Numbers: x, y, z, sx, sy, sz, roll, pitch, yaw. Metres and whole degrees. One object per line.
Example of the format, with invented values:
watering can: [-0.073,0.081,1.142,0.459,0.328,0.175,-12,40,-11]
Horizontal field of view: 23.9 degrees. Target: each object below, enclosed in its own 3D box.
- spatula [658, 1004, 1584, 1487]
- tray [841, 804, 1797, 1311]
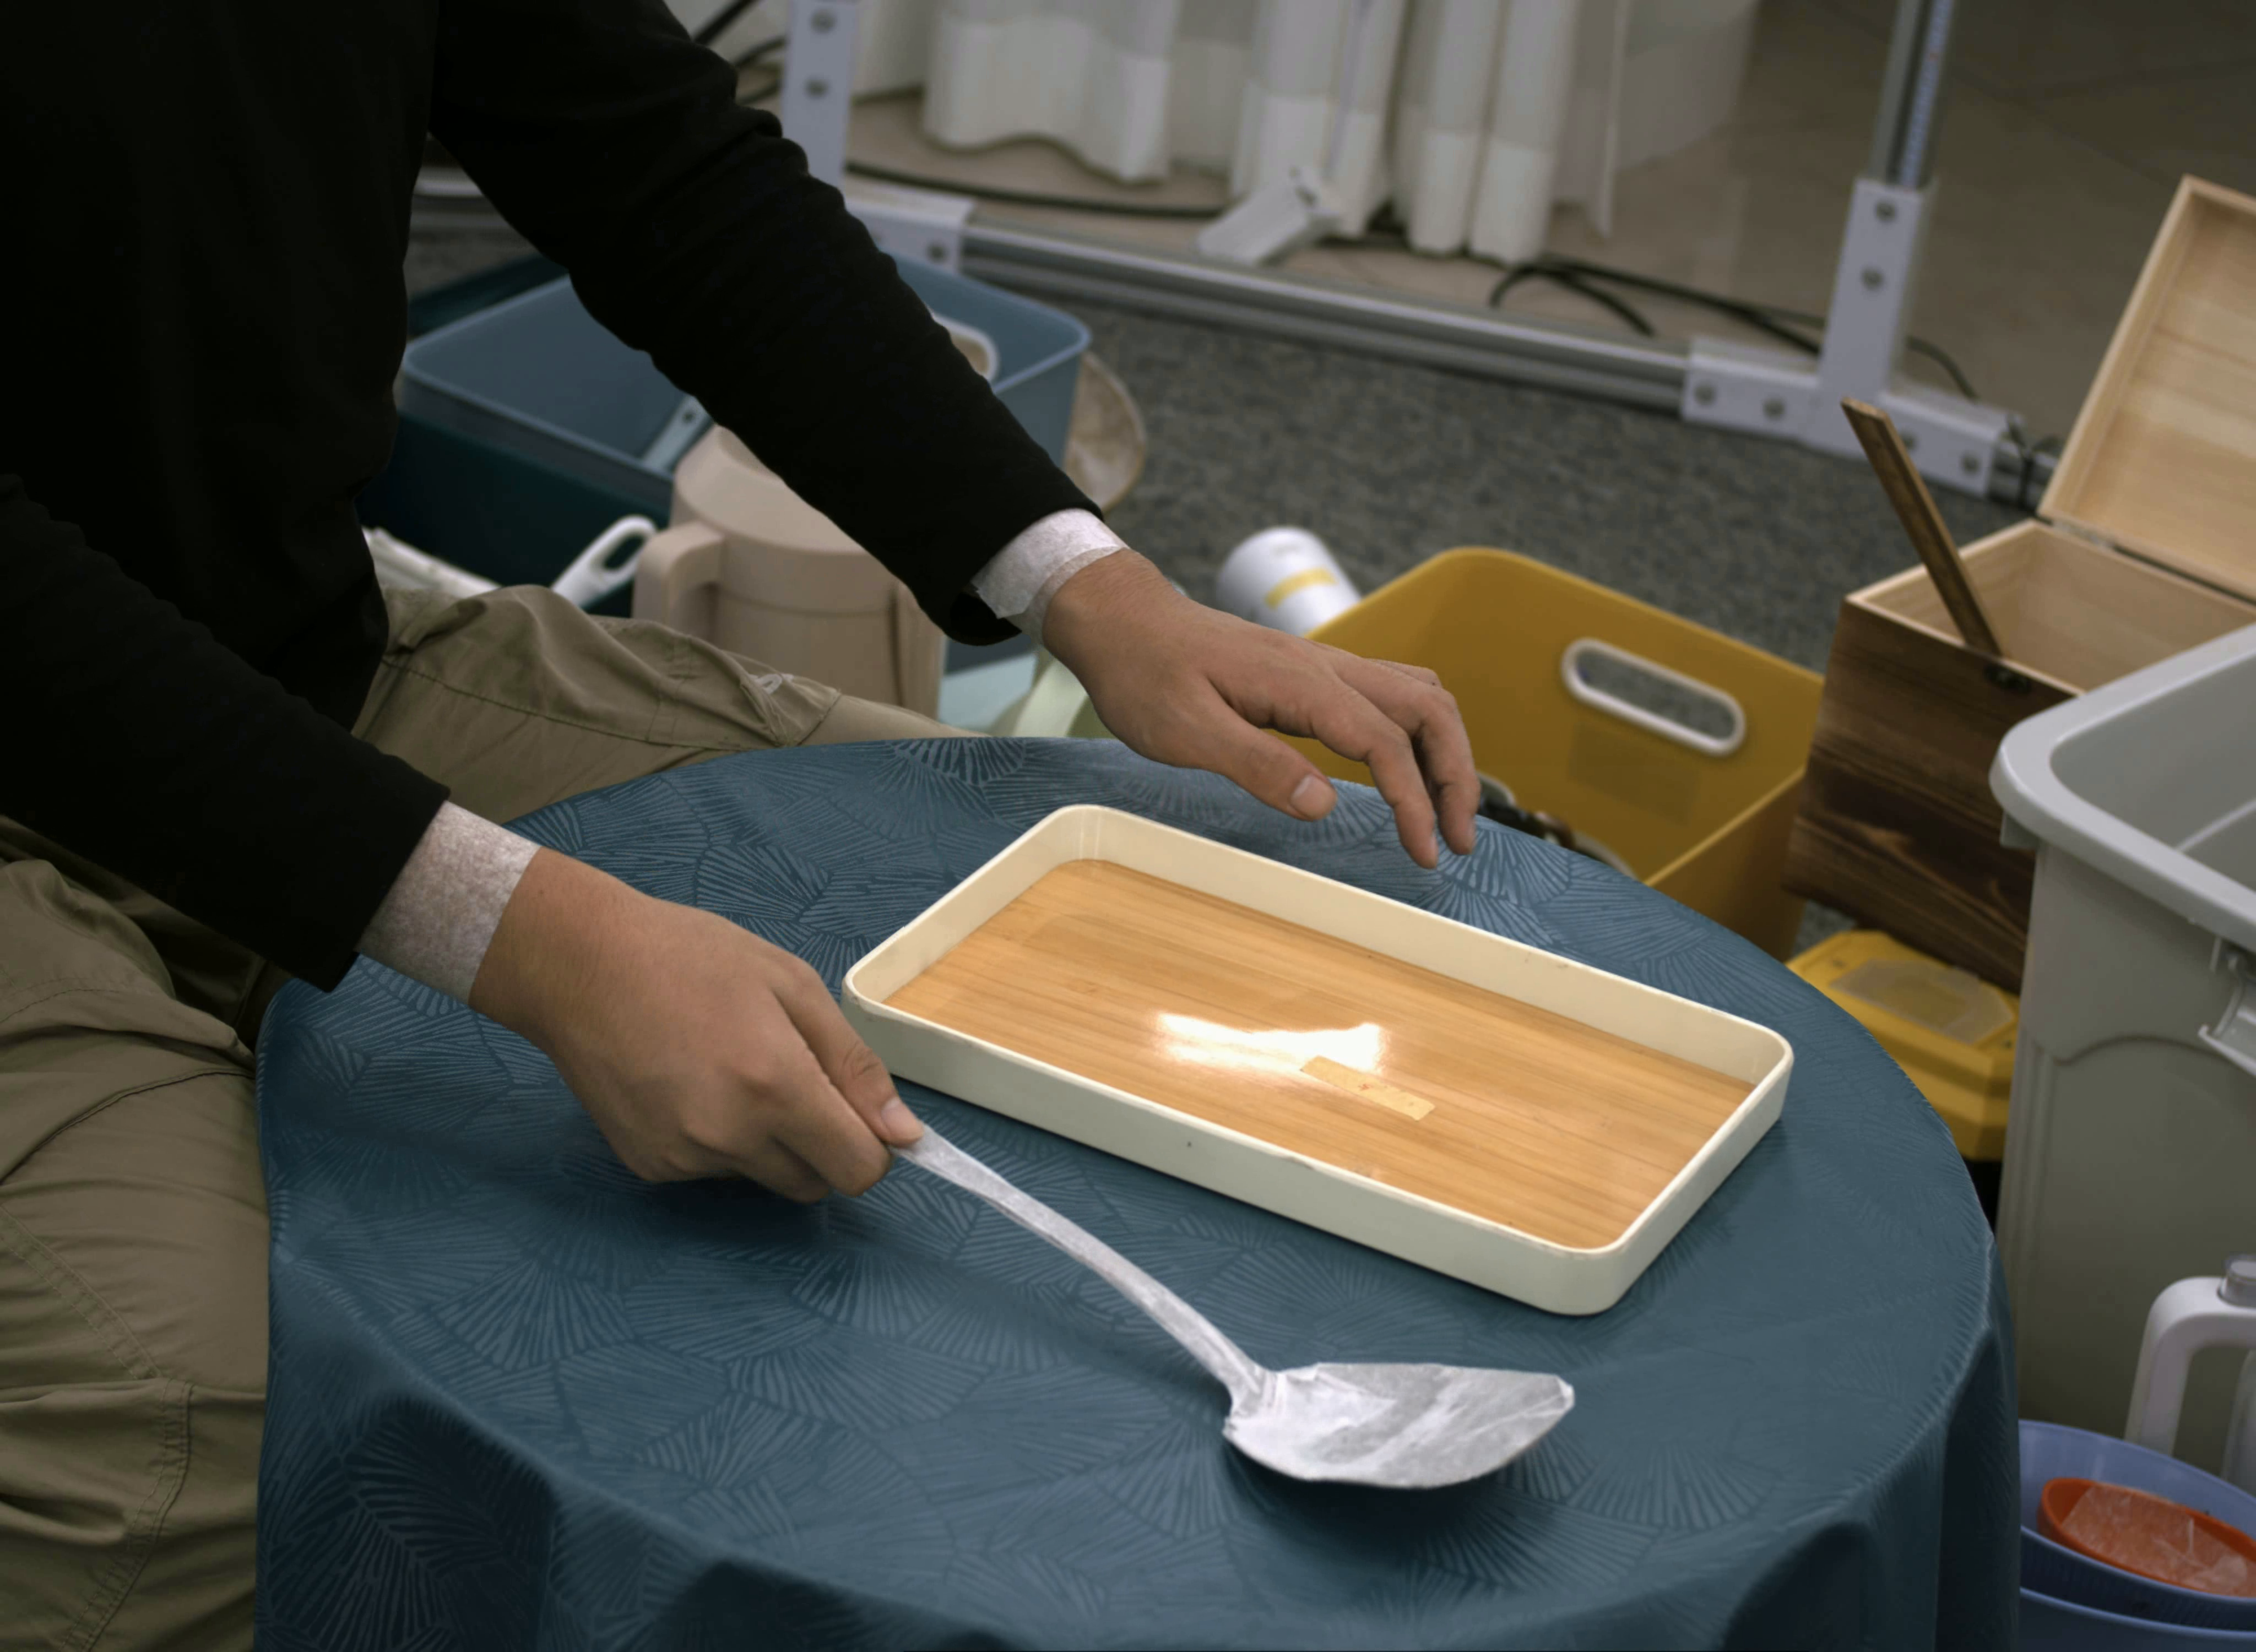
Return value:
spatula: [-0.020,0.128,1.723,0.367,0.044,0.098,30,32,27]
tray: [0.067,0.077,1.878,0.301,0.027,0.191,19,29,23]
